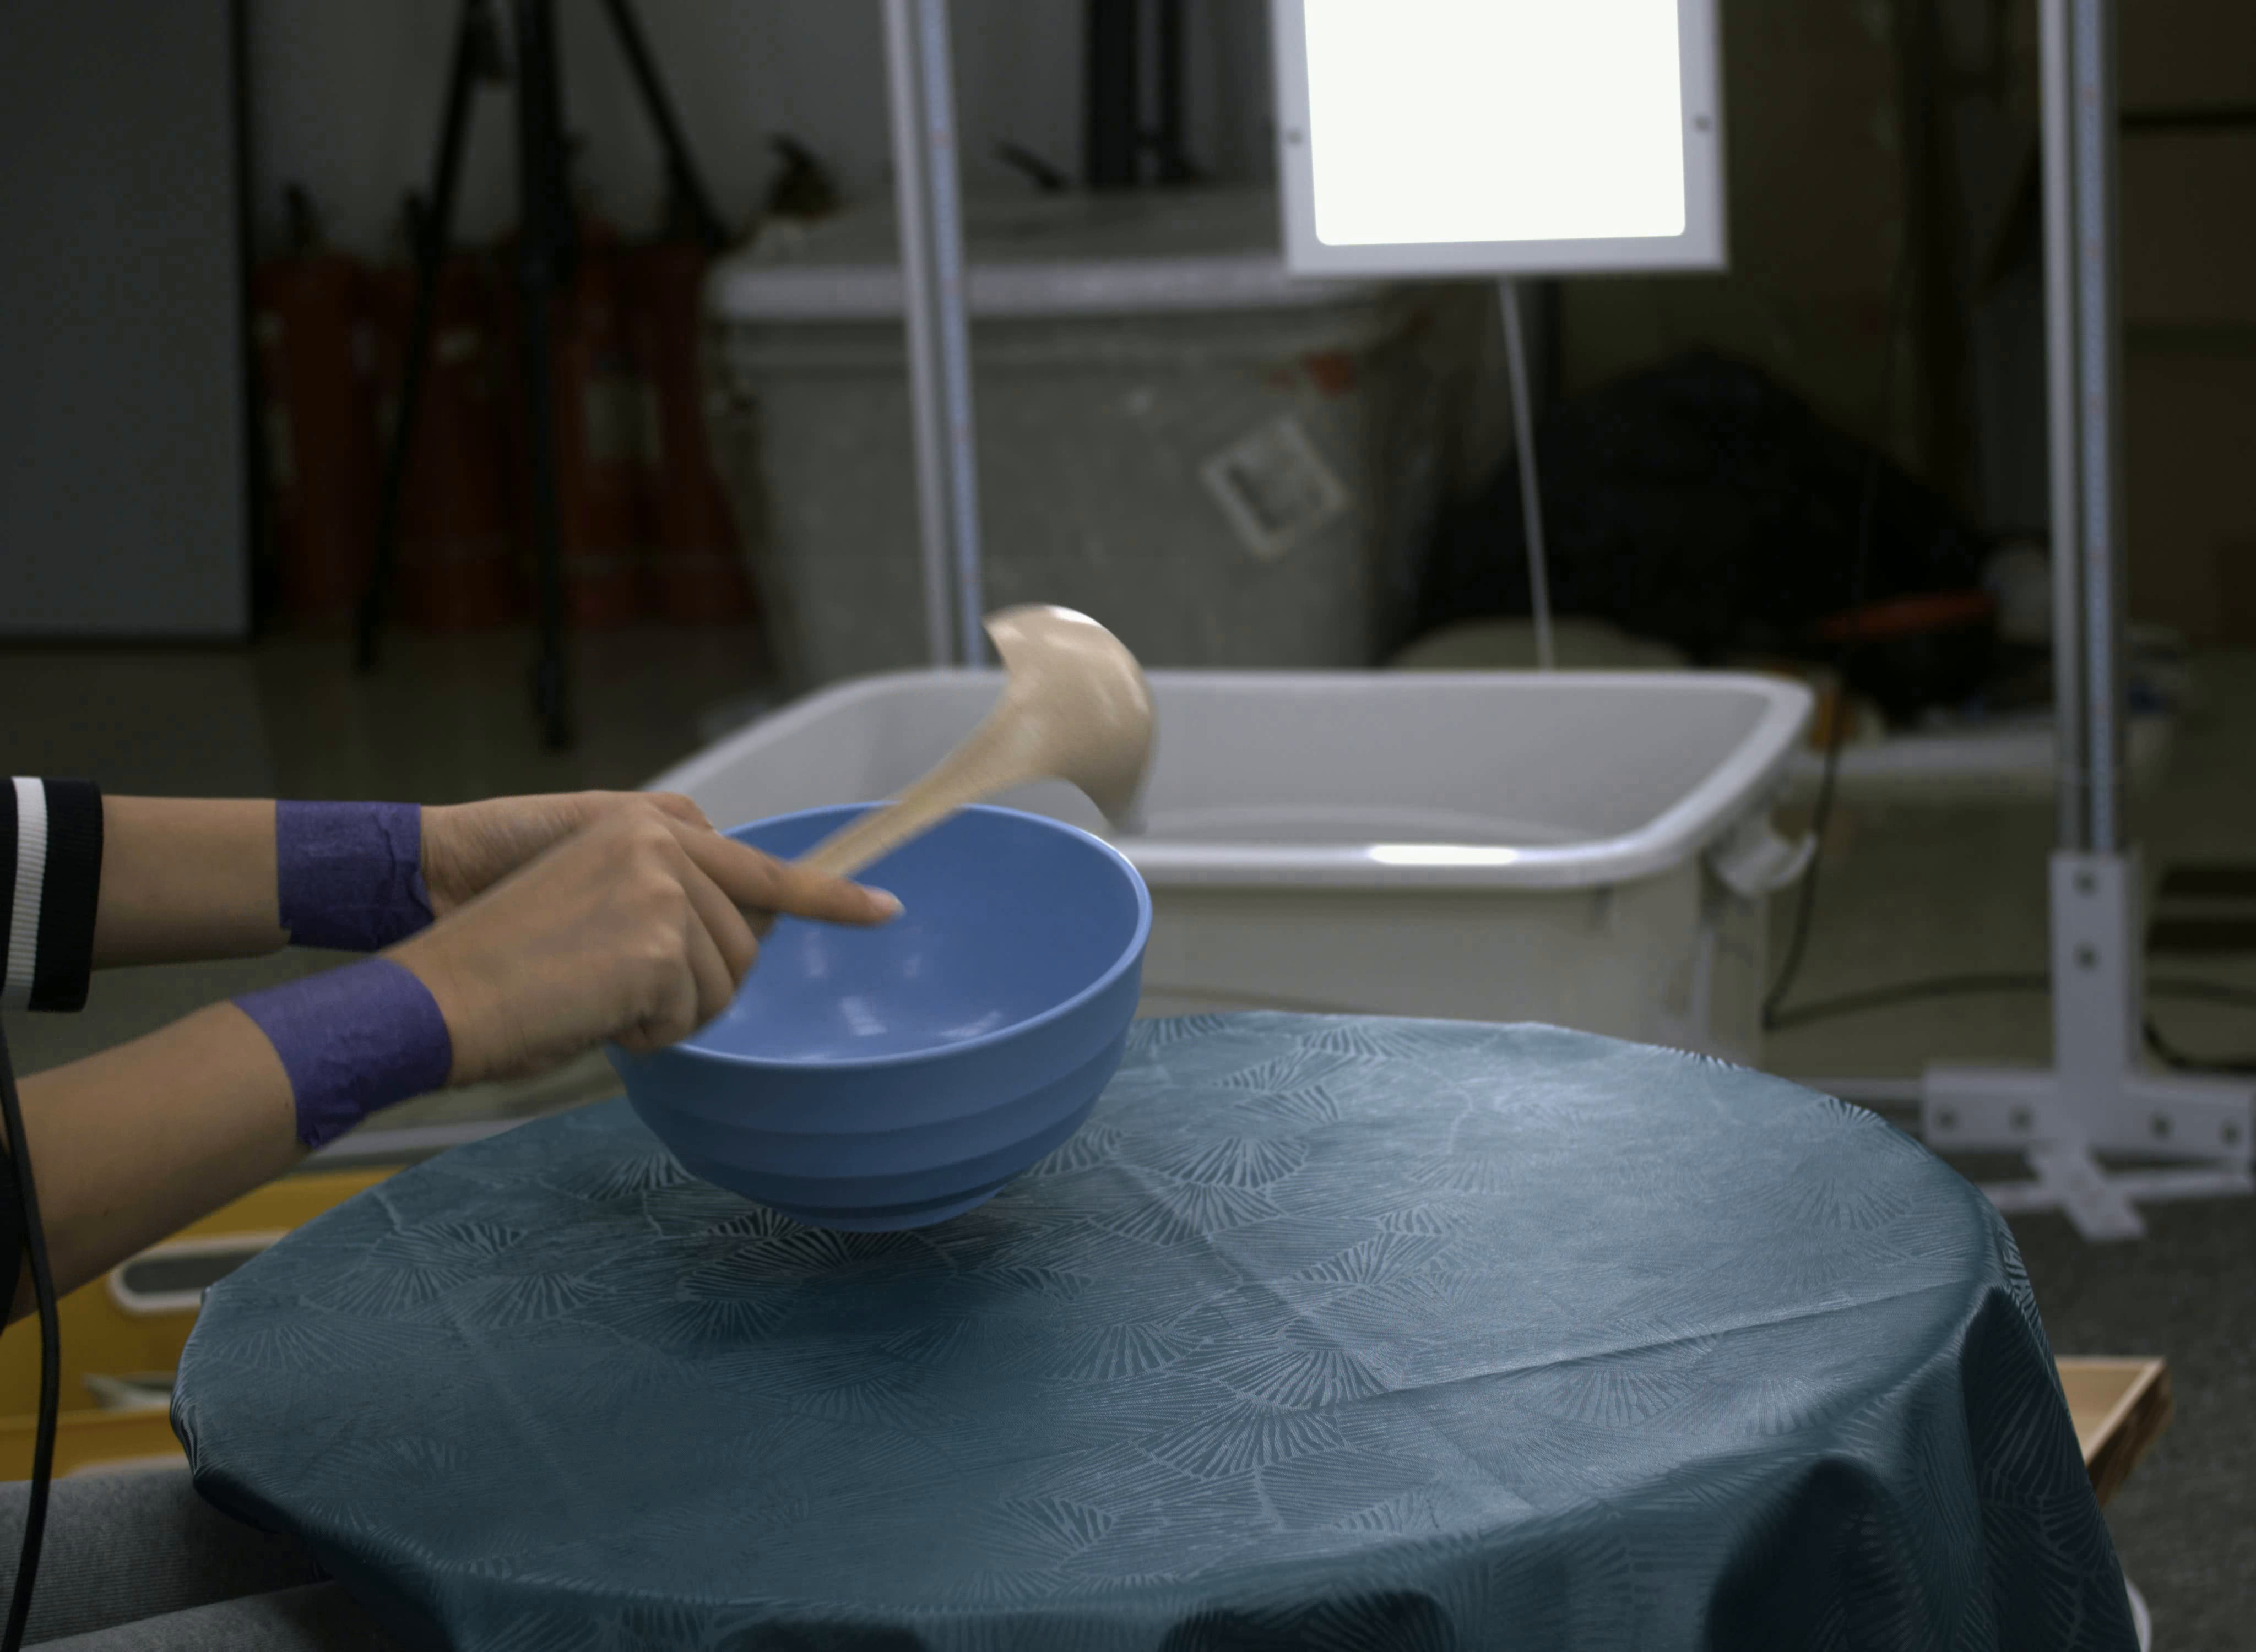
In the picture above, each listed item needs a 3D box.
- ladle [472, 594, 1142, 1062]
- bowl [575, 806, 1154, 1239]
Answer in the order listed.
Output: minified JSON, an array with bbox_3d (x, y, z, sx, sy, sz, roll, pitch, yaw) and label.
[{"bbox_3d":[-0.105,0.010,1.689,0.250,0.072,0.074,-32,3,-22],"label":"ladle"},{"bbox_3d":[-0.086,0.077,1.877,0.196,0.096,0.196,-4,26,1],"label":"bowl"}]
